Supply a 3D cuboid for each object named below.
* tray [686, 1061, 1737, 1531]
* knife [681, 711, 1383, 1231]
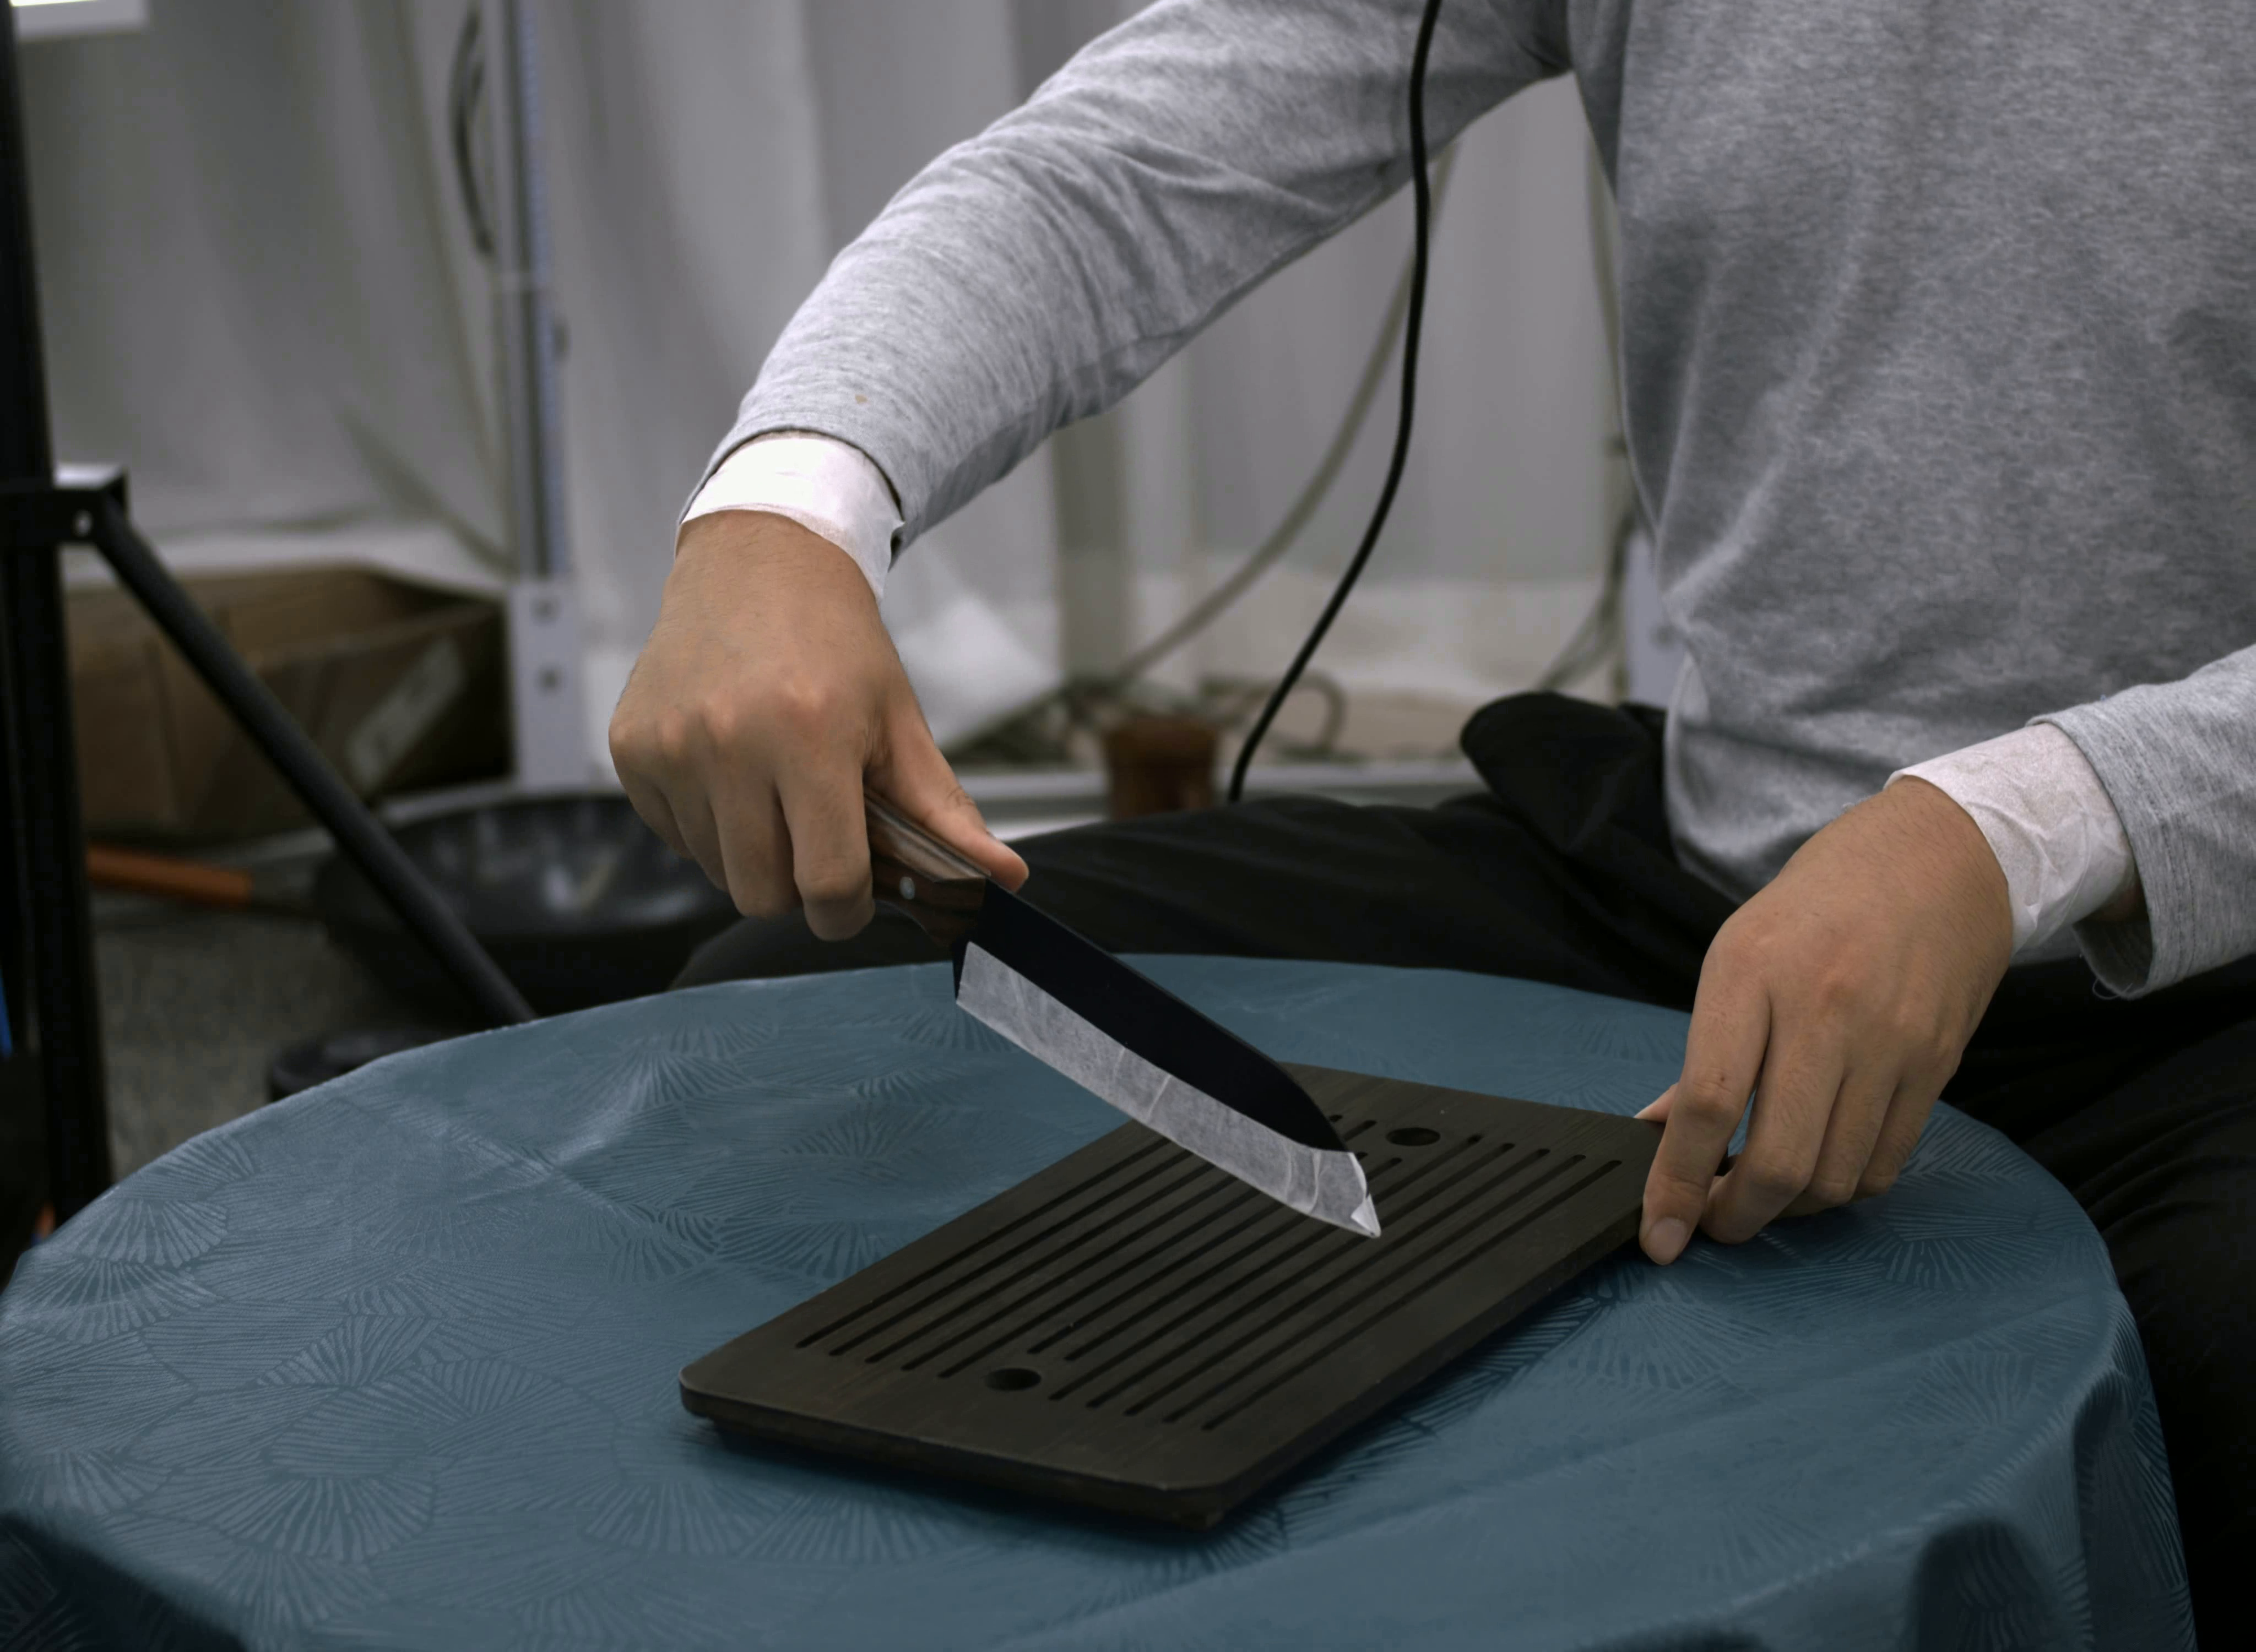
[{"bbox_3d":[0.030,0.126,1.463,0.173,0.018,0.300,8,18,32],"label":"tray"},{"bbox_3d":[-0.030,0.039,1.507,0.019,0.050,0.295,-18,40,-40],"label":"knife"}]
